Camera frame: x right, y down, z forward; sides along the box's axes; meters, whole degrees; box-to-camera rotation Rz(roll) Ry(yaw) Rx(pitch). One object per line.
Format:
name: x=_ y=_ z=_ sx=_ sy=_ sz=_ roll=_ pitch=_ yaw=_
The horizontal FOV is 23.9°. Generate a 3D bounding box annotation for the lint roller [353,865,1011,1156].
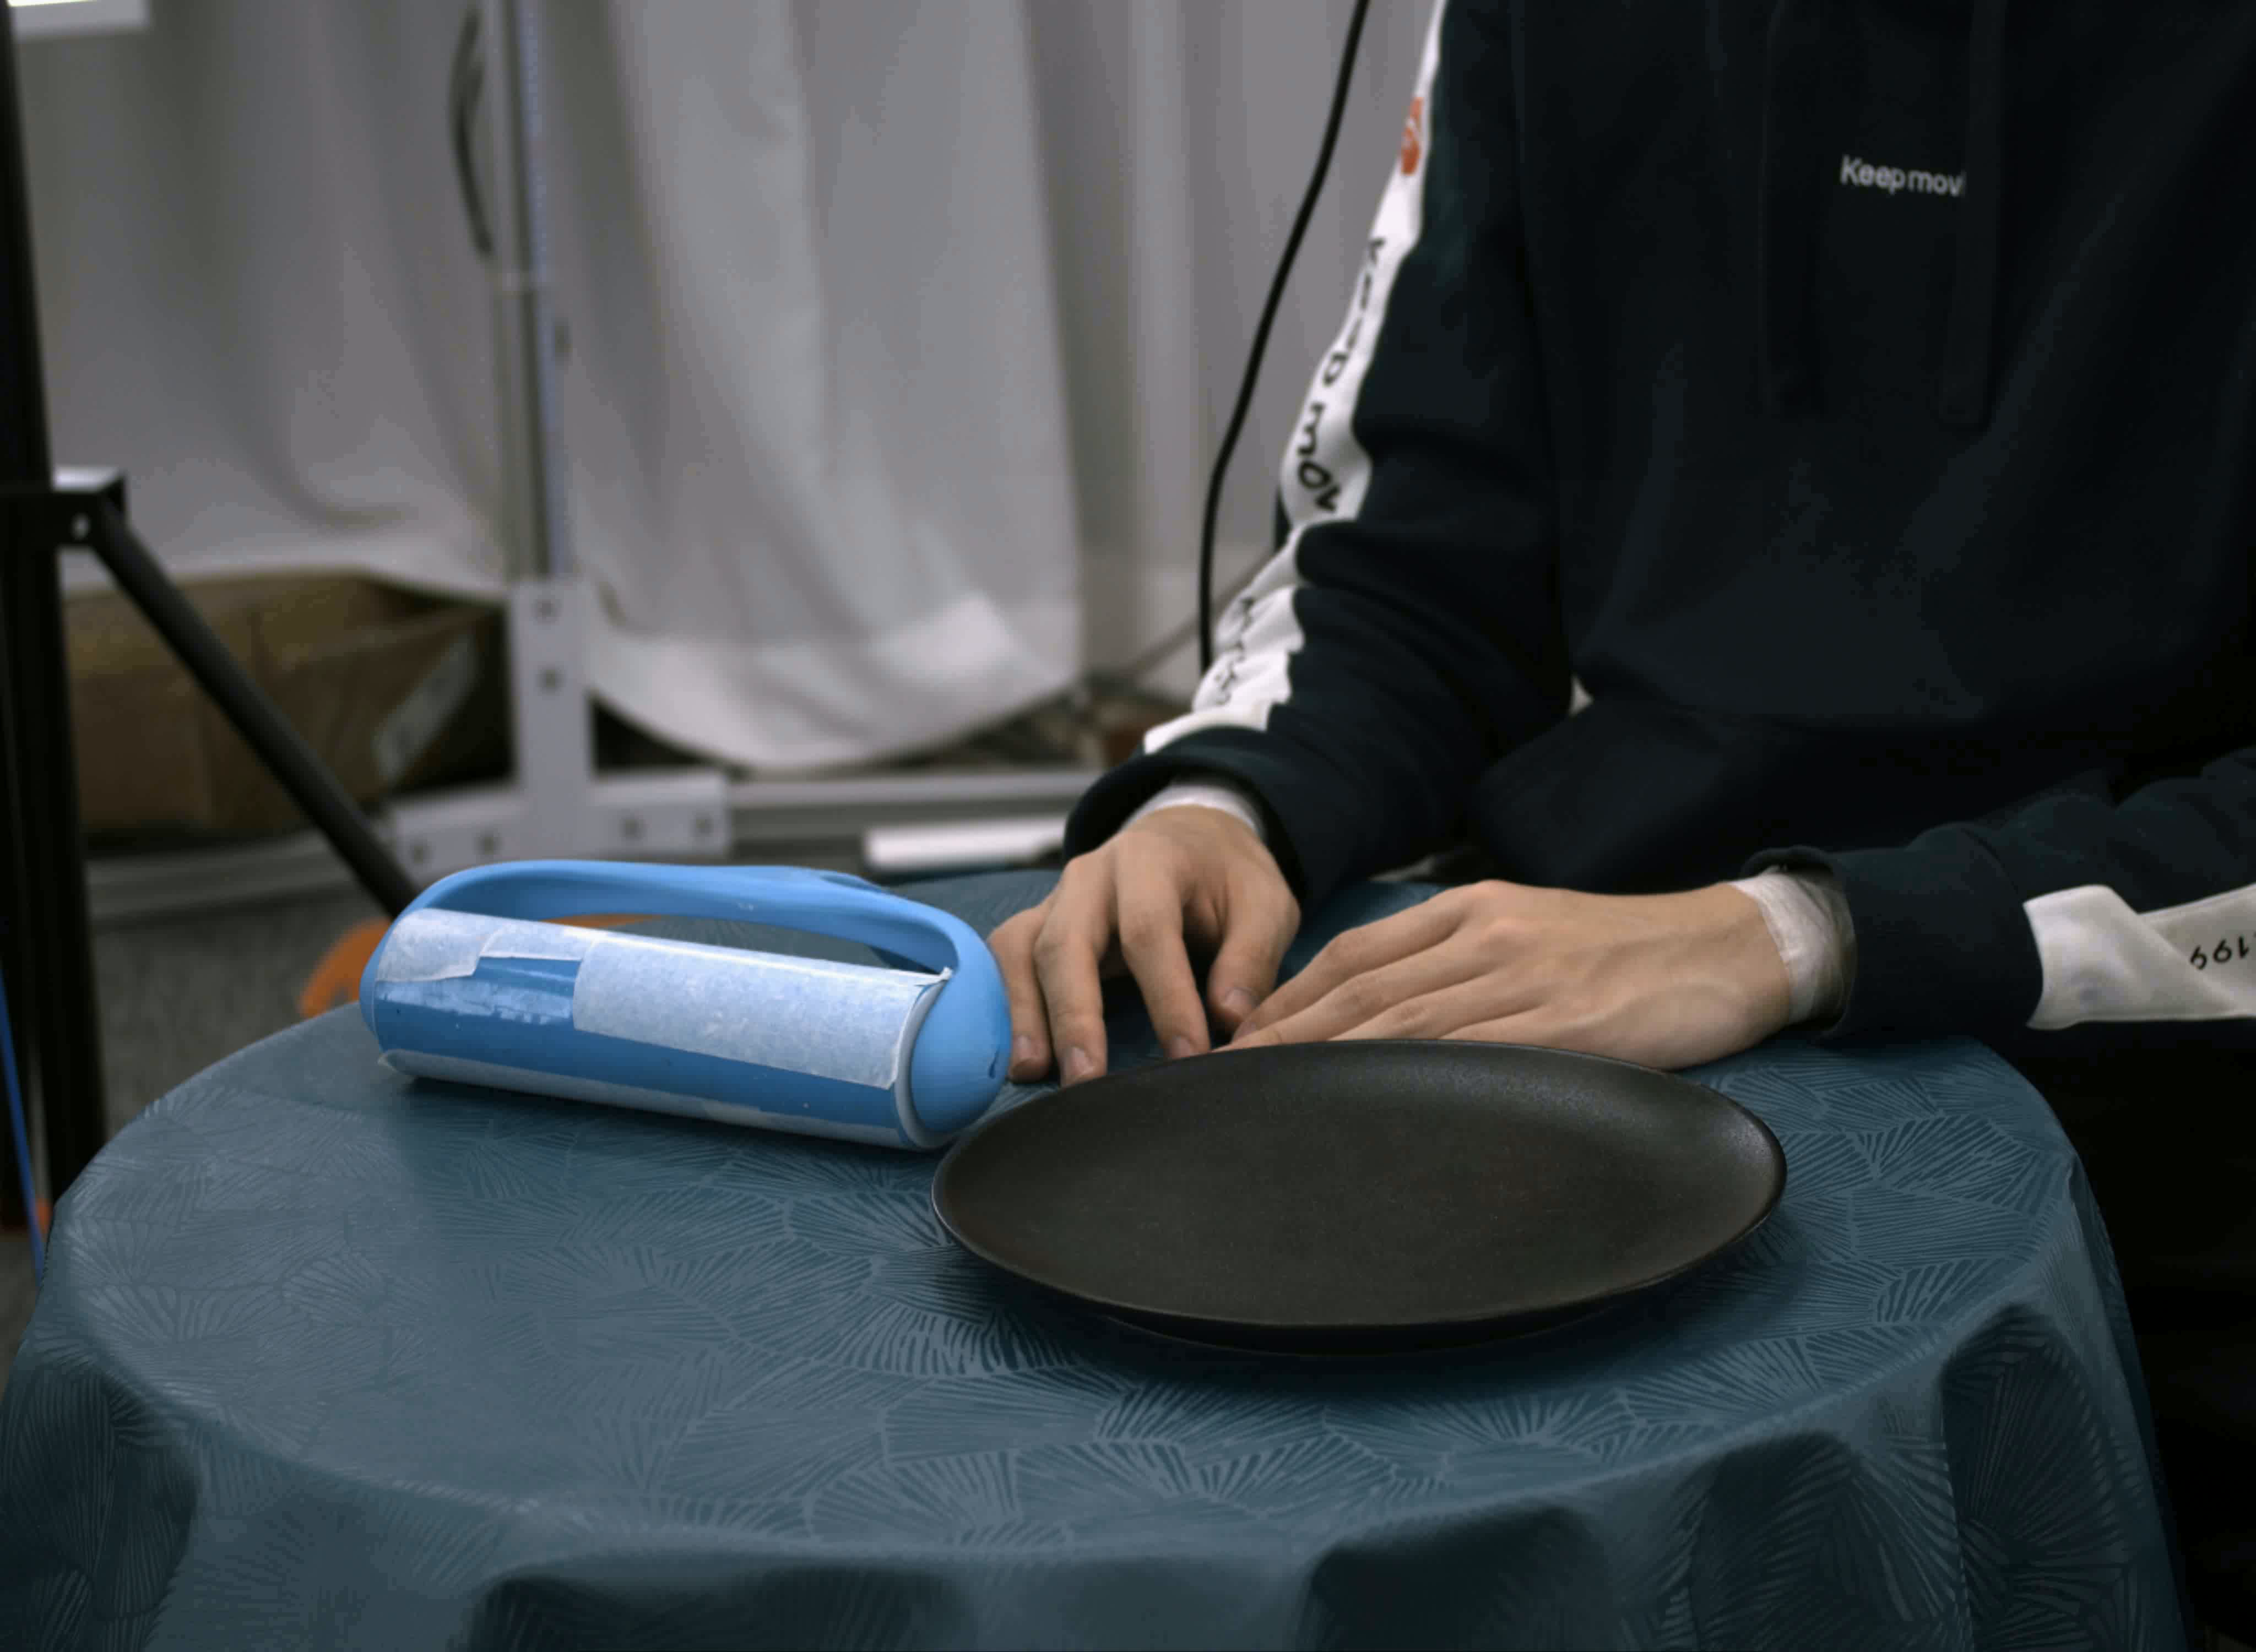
lint roller: x=-0.115 y=0.047 z=1.692 sx=0.232 sy=0.068 sz=0.177 roll=5 pitch=17 yaw=27

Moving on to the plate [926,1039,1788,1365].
plate: x=0.065 y=0.109 z=1.502 sx=0.243 sy=0.023 sz=0.245 roll=-3 pitch=16 yaw=-1
